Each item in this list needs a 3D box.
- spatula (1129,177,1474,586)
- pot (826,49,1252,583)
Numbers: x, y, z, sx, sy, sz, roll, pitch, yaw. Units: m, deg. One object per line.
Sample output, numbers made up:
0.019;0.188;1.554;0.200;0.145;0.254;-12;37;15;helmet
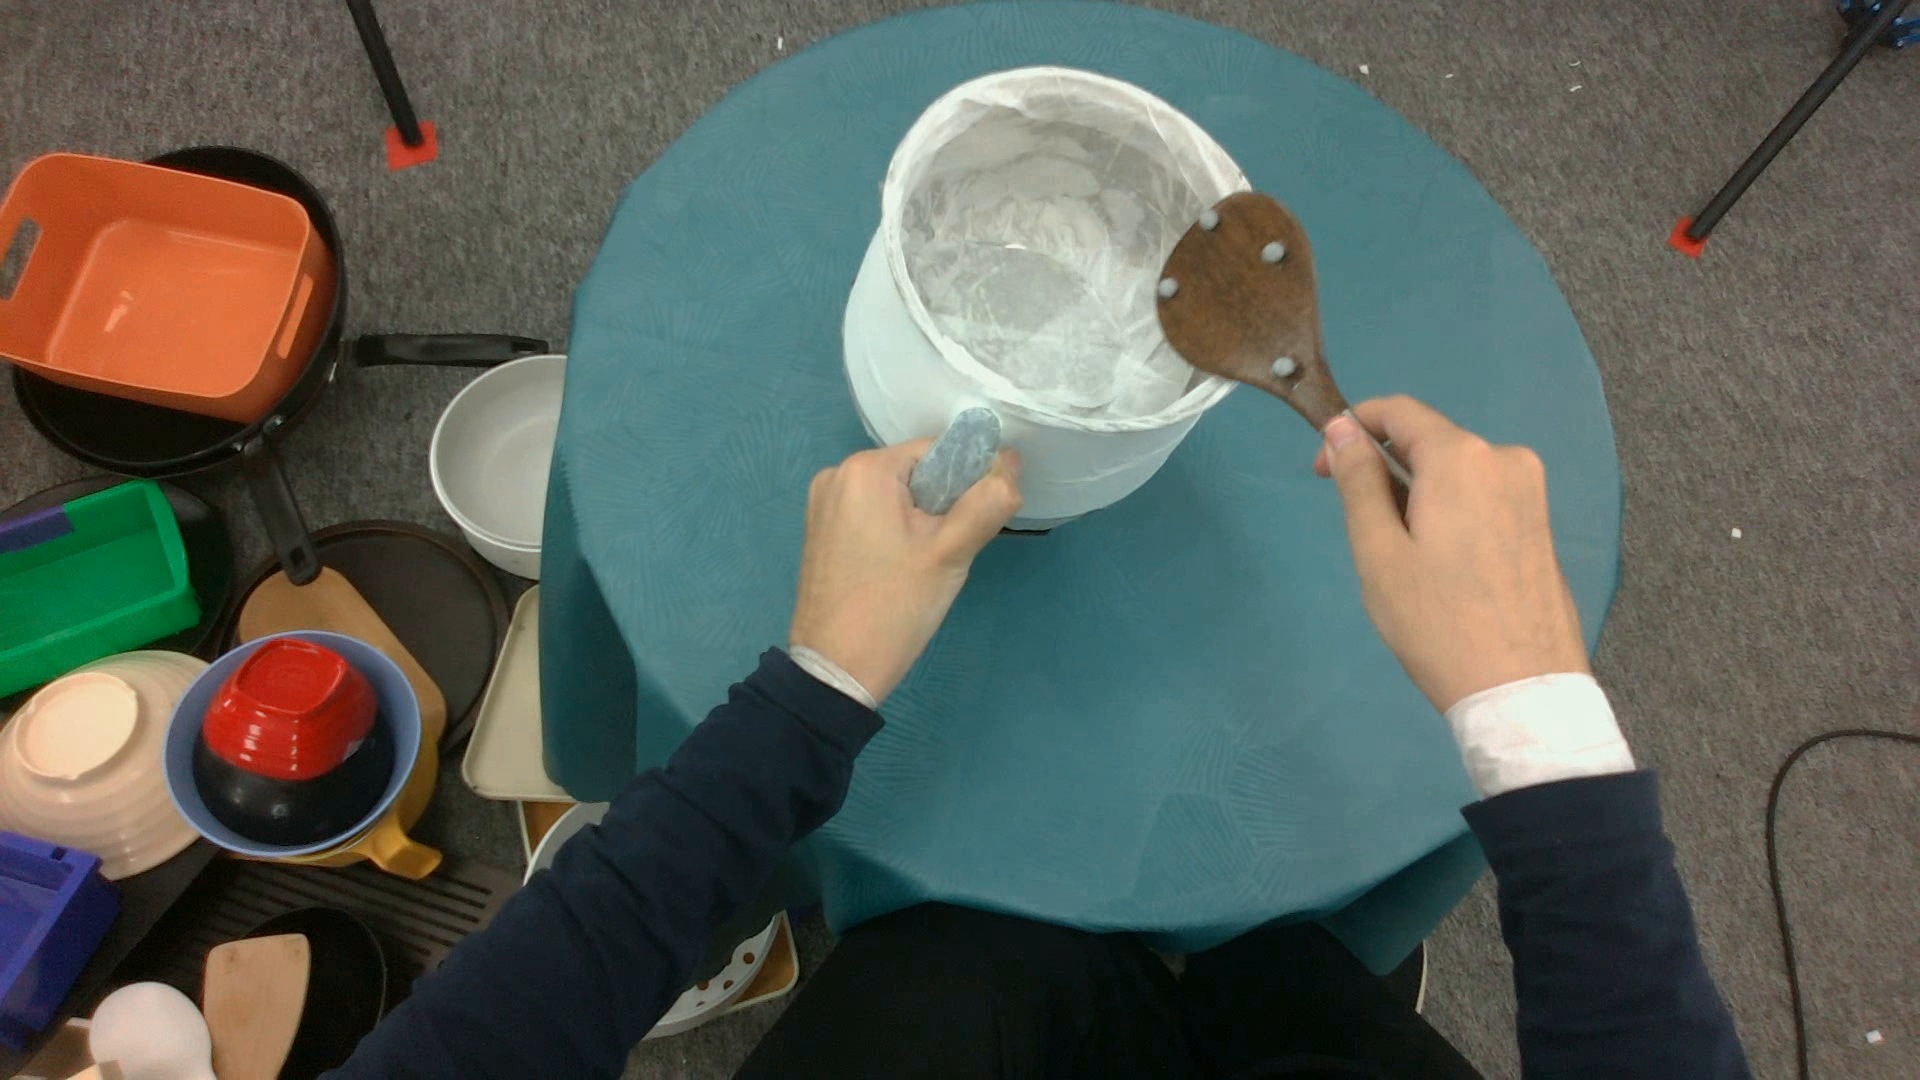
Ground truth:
0.134;-0.063;0.554;0.009;0.071;0.216;12;40;-49;spatula
0.019;-0.092;0.630;0.179;0.136;0.234;27;64;-1;pot
